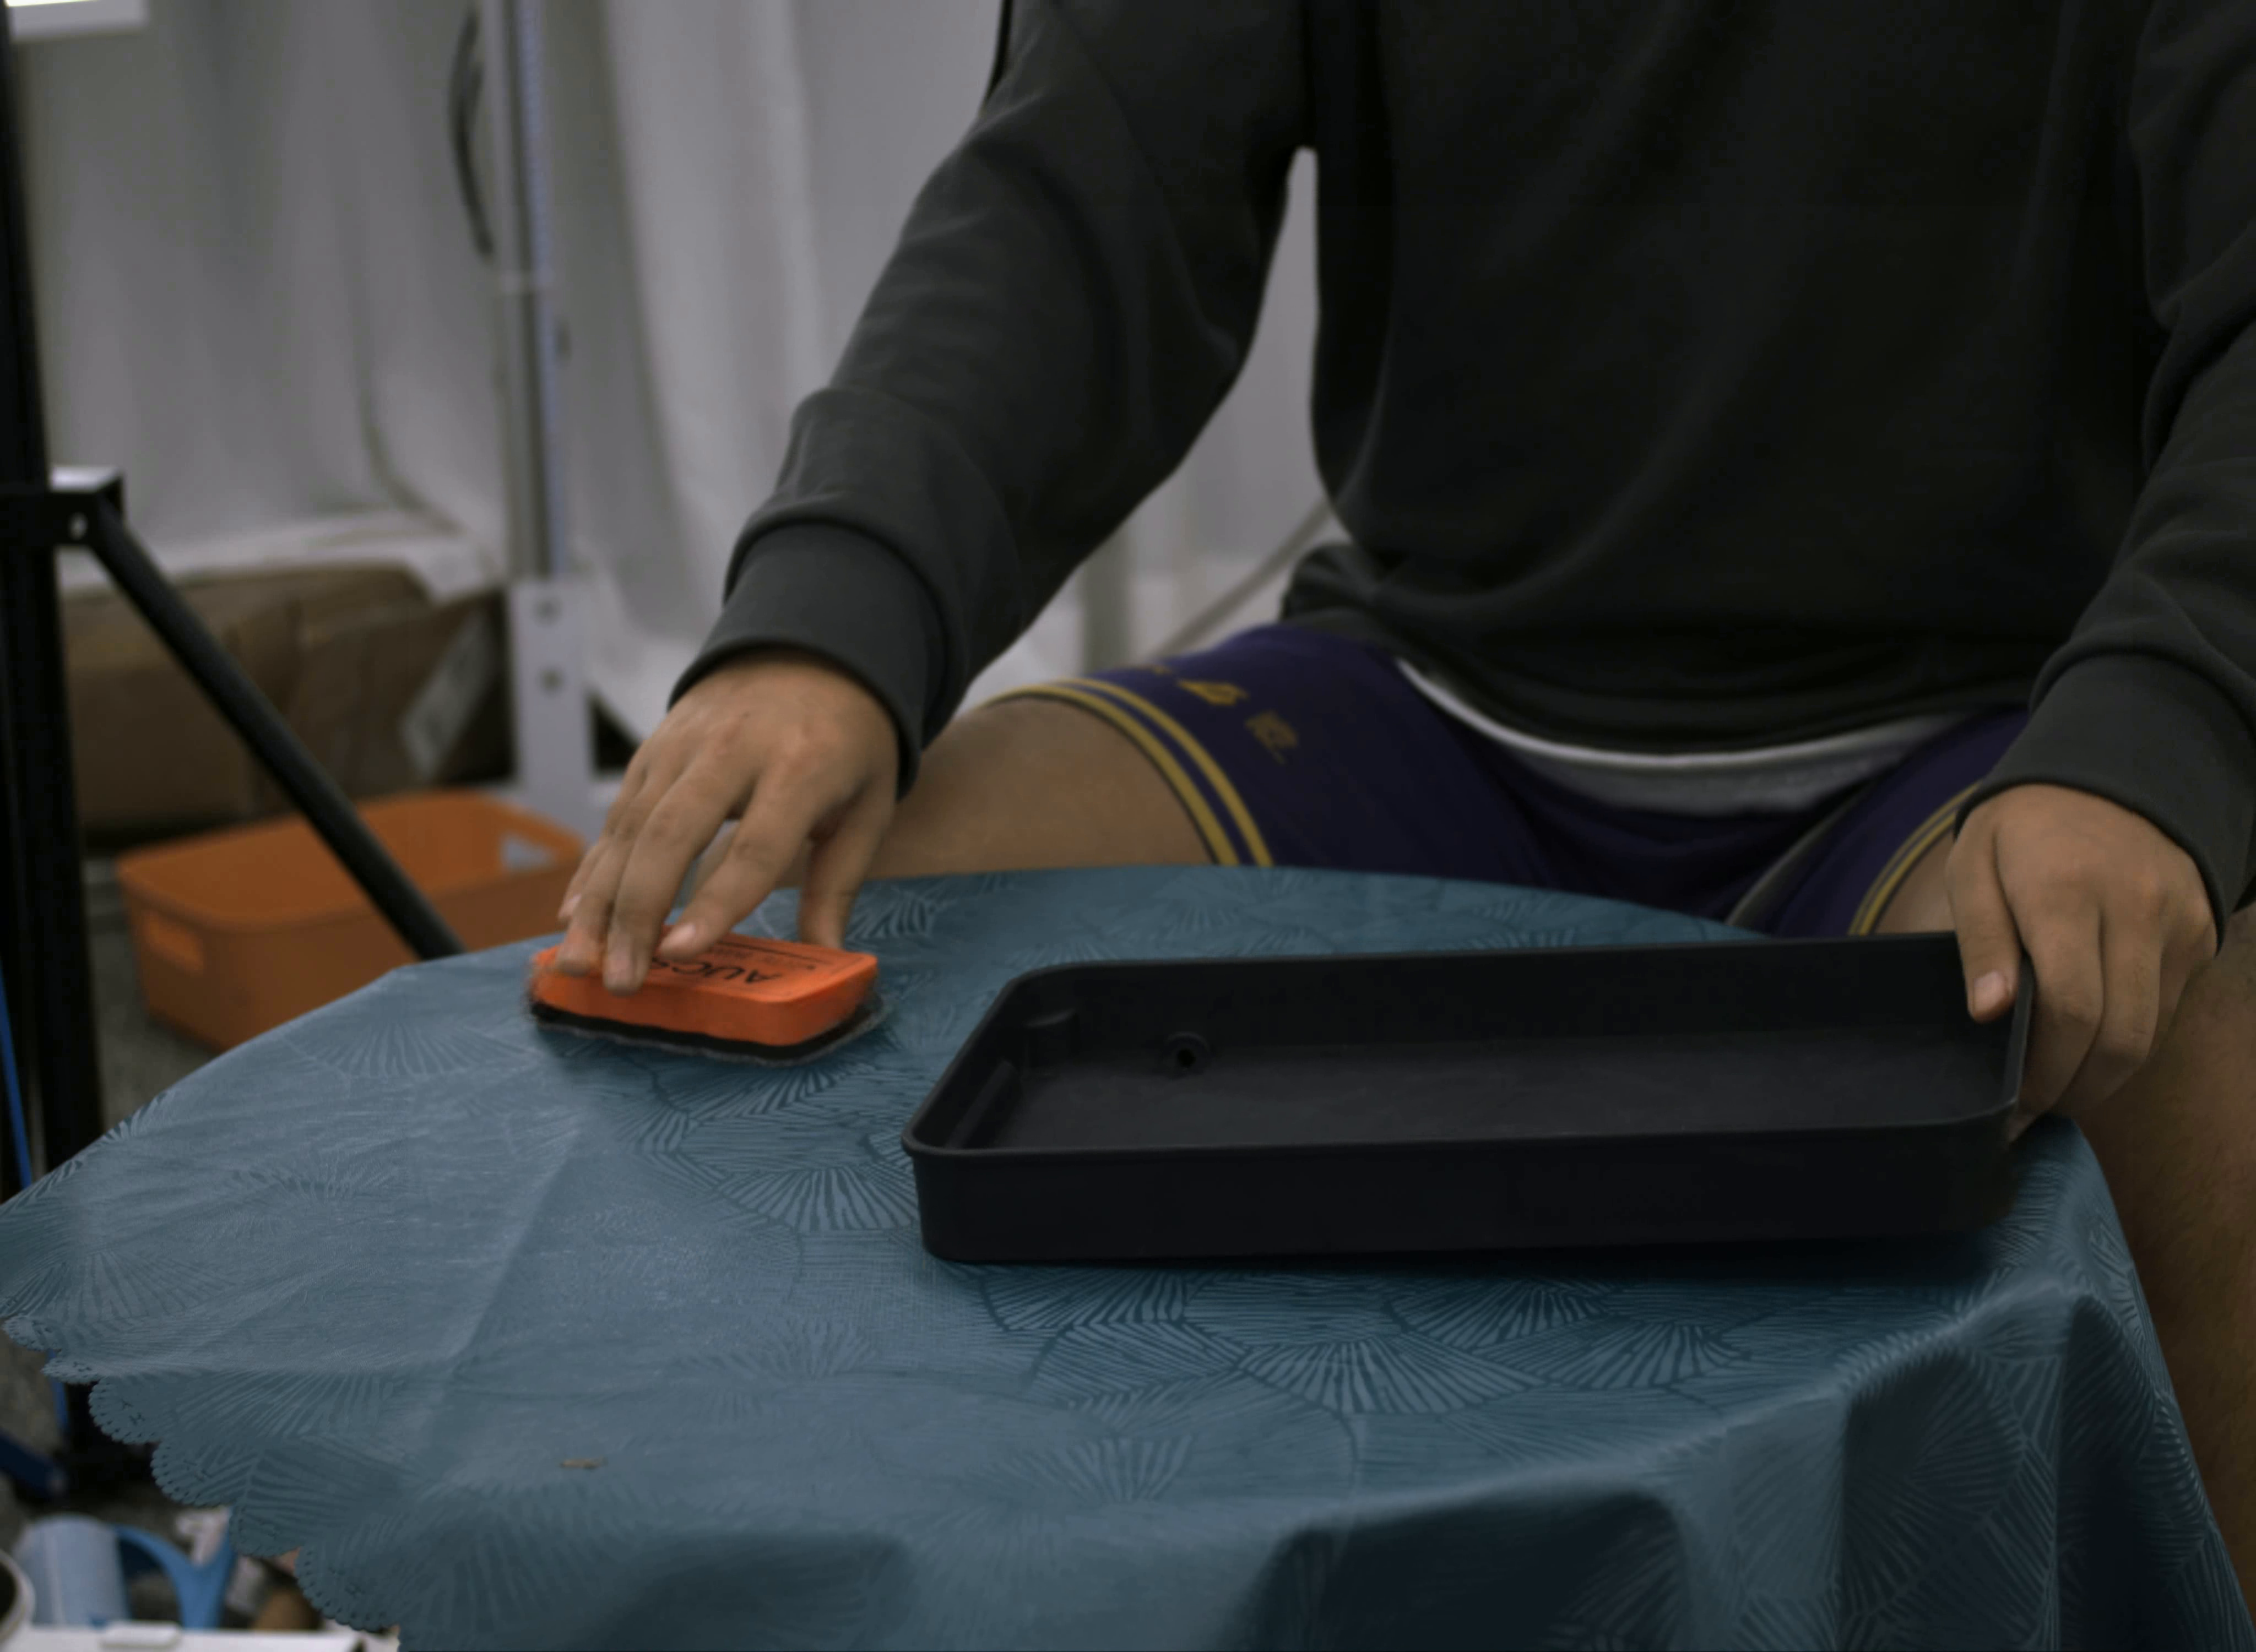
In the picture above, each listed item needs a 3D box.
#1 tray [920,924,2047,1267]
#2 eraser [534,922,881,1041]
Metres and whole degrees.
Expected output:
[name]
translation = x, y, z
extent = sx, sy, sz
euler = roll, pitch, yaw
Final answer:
[tray]
translation = 0.109, 0.078, 1.550
extent = 0.320, 0.037, 0.183
euler = -3, 15, 13
[eraser]
translation = -0.137, 0.050, 1.732
extent = 0.110, 0.023, 0.057
euler = 6, 9, 33
